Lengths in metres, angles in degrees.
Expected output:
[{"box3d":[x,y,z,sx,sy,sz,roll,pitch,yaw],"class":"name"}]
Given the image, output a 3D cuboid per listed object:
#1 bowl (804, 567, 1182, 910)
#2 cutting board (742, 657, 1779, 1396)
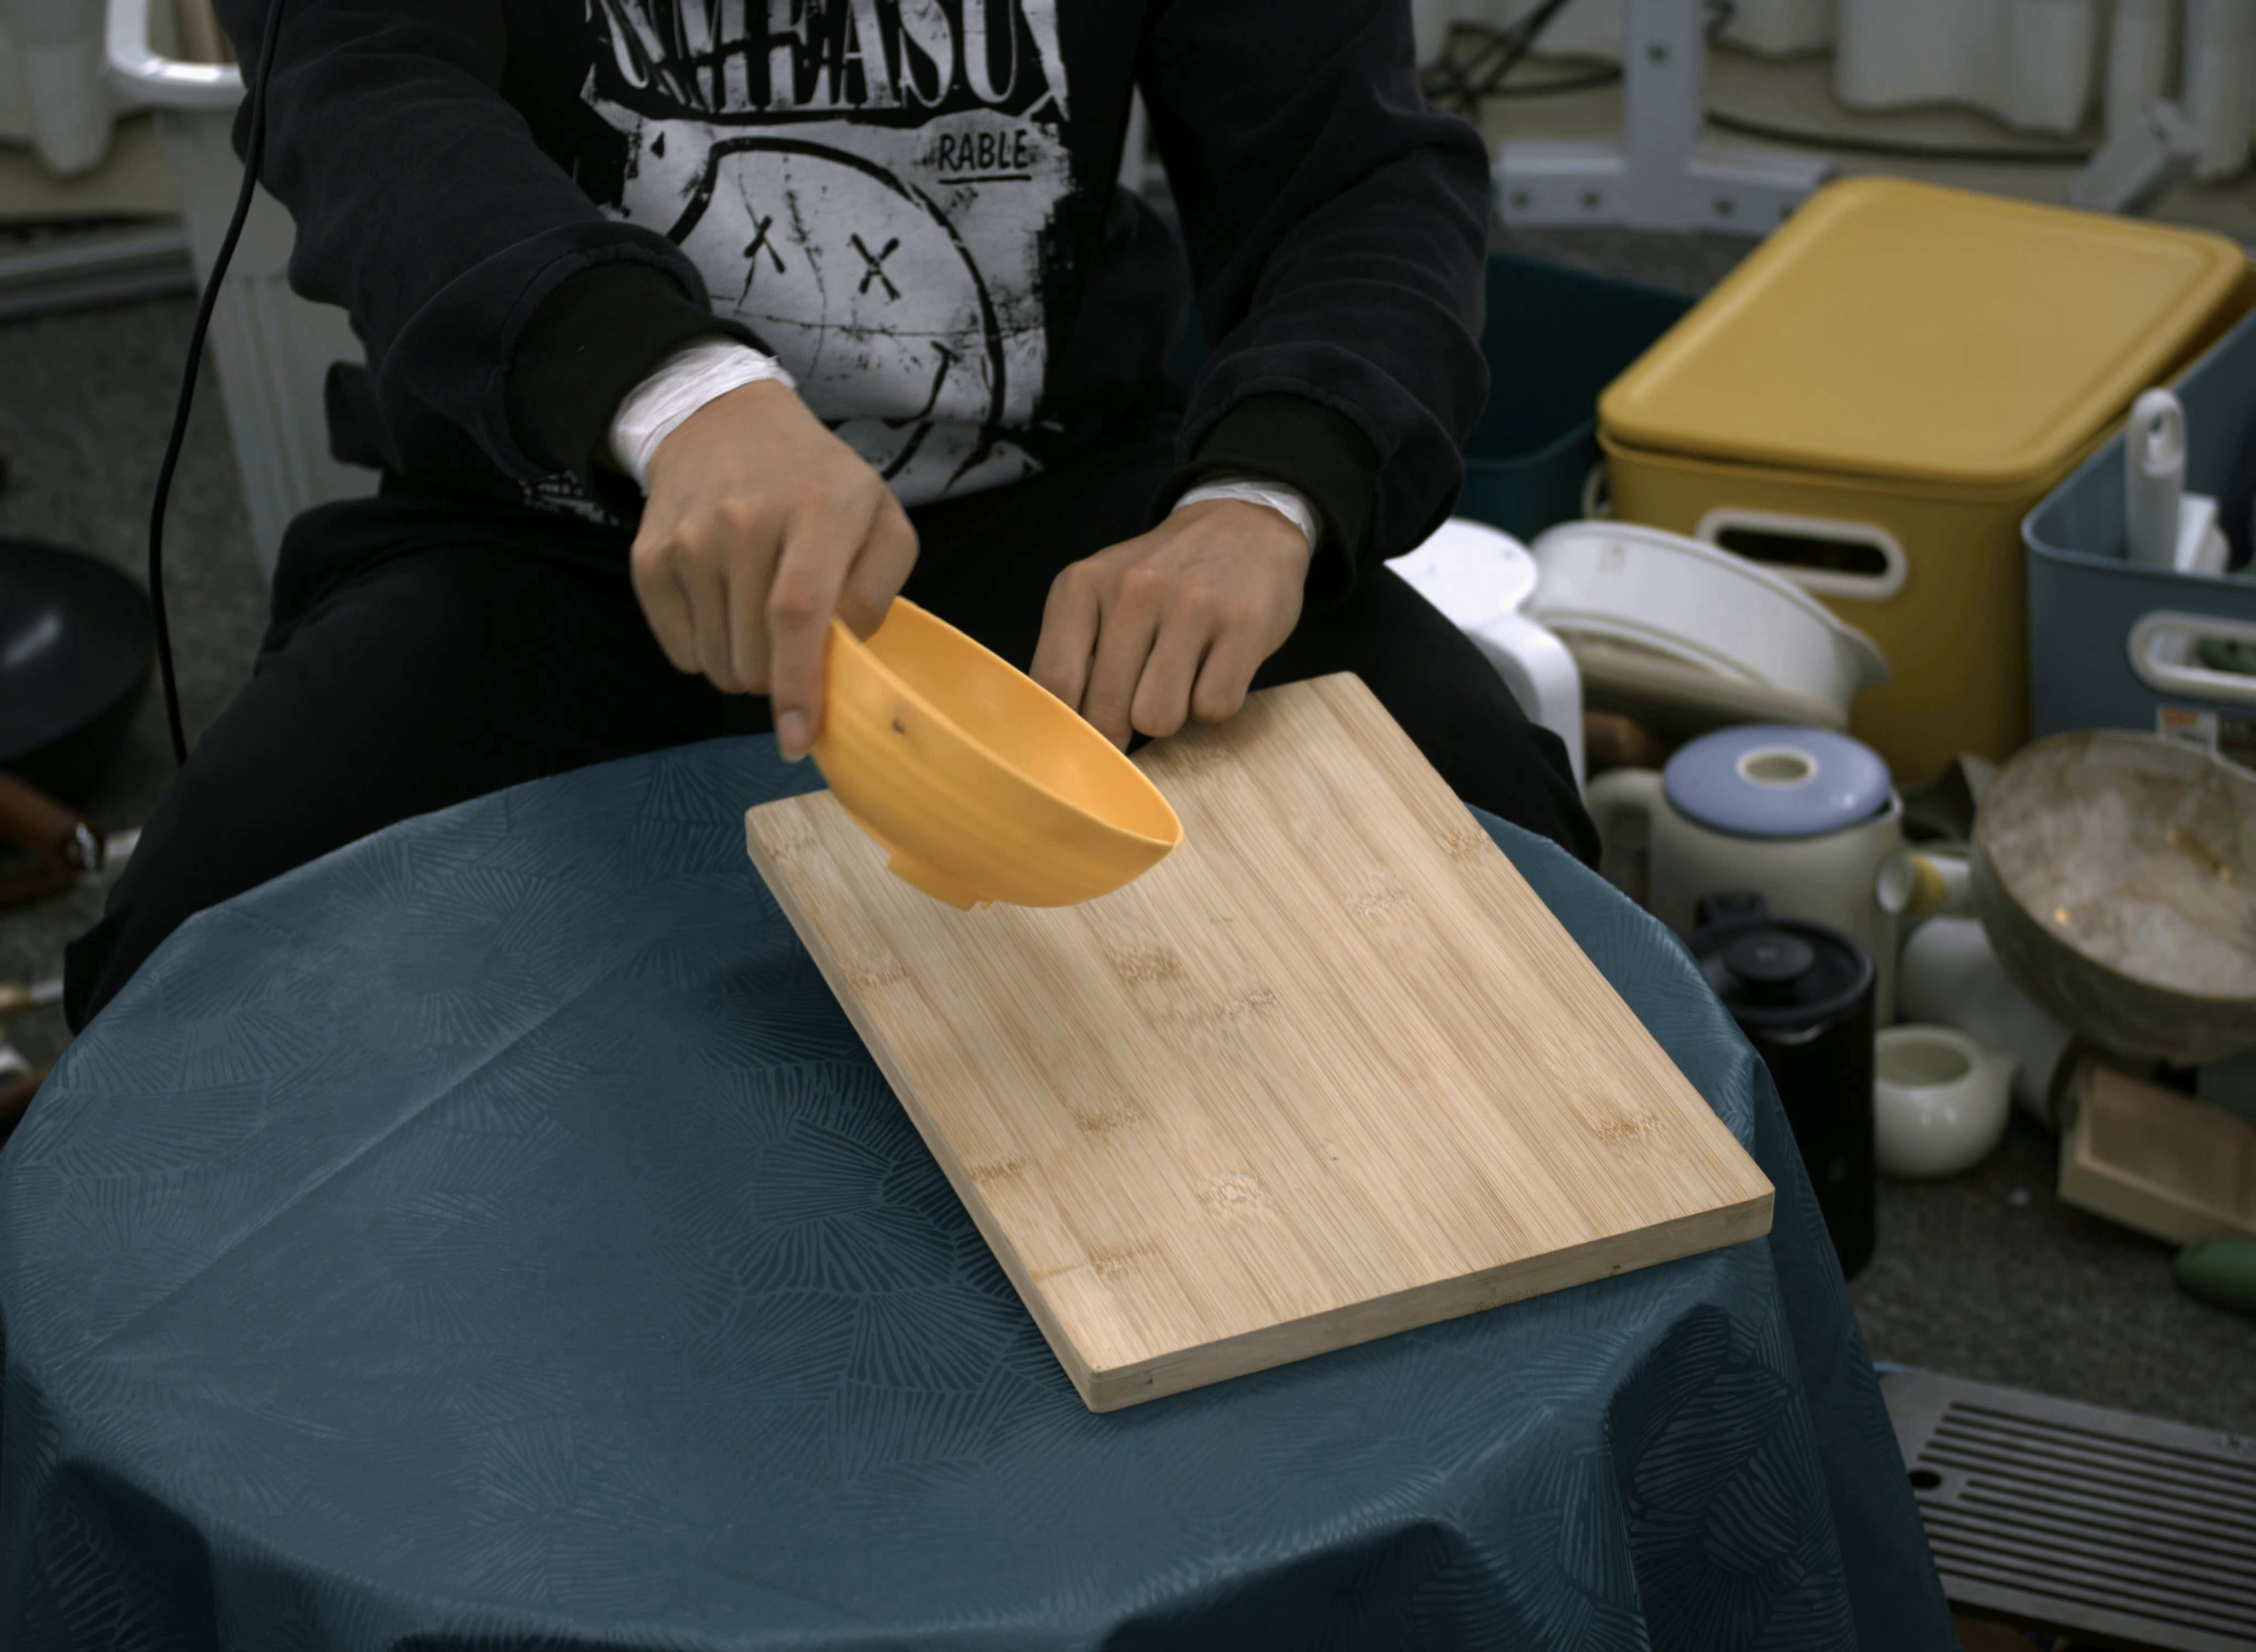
[{"box3d":[-0.056,-0.016,1.819,0.145,0.060,0.146,38,7,-4],"class":"bowl"},{"box3d":[0.036,0.060,1.914,0.251,0.023,0.352,-13,36,-19],"class":"cutting board"}]
